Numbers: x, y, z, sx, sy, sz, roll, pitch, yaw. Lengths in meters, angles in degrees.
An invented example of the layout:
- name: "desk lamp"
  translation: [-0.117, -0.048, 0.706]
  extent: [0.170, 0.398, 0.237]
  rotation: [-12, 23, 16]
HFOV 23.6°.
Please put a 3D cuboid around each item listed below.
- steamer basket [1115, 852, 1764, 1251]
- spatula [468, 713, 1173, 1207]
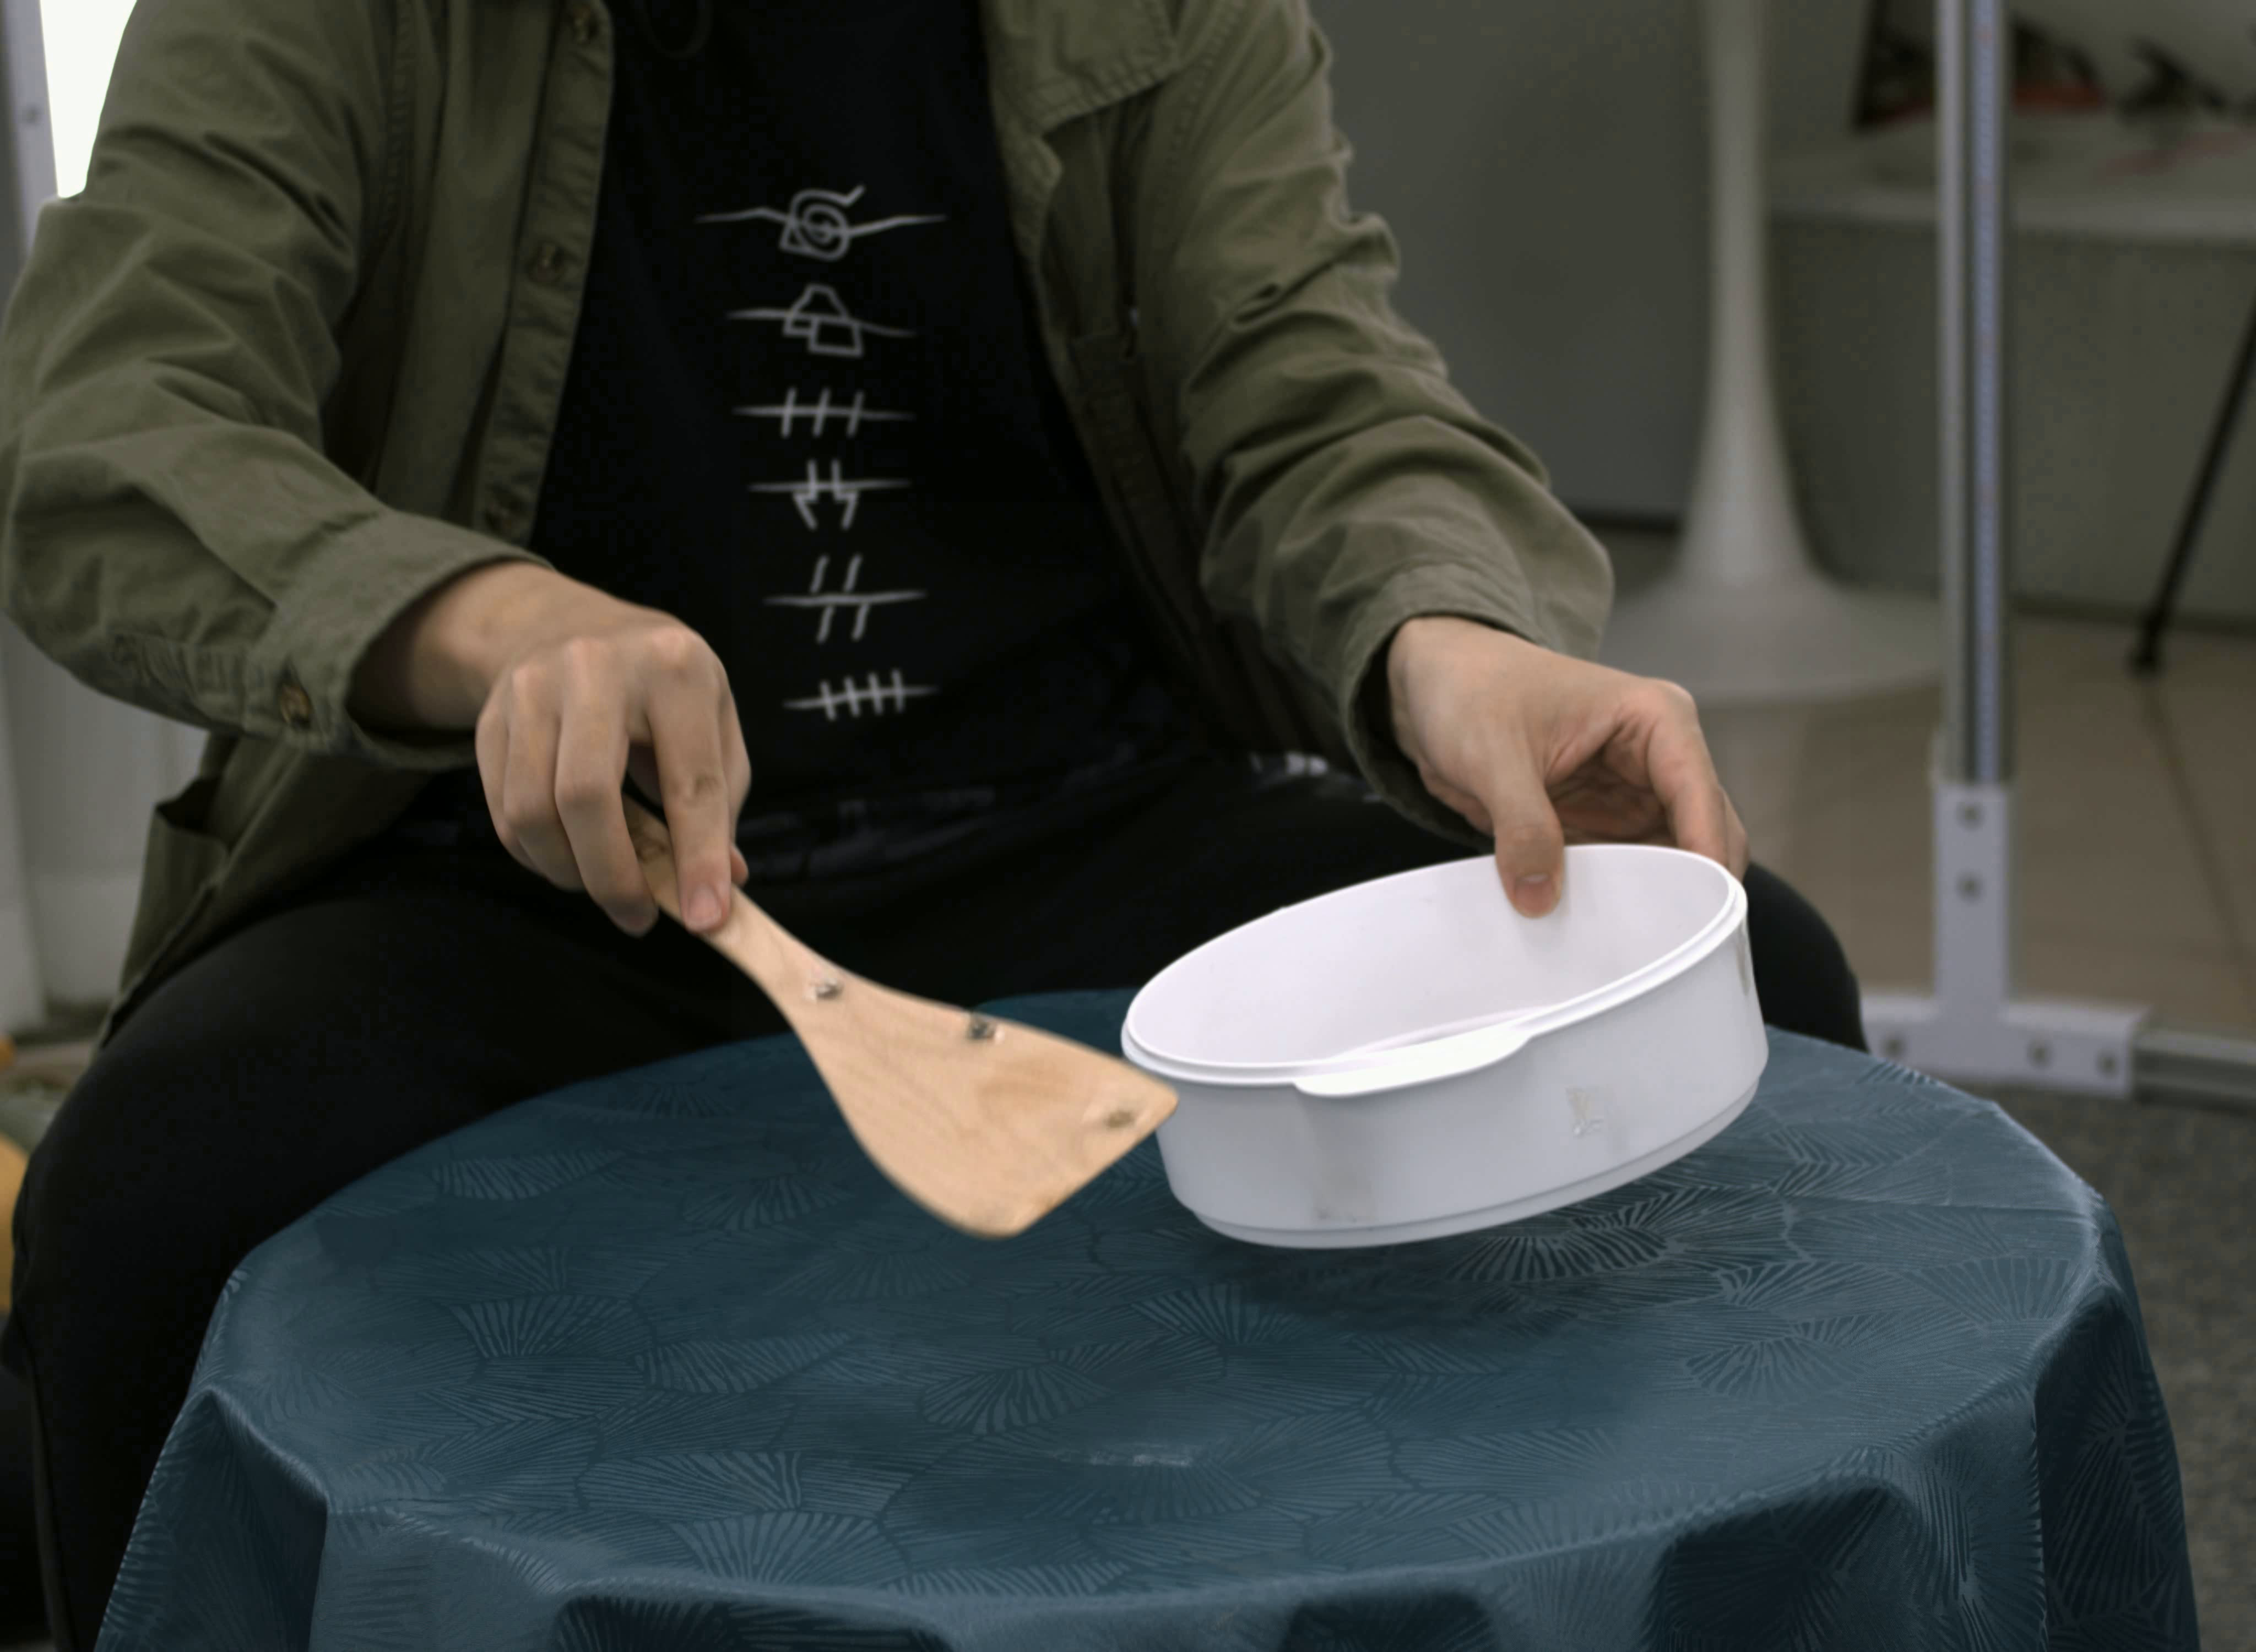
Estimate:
- name: "steamer basket"
  translation: [0.099, 0.070, 1.672]
  extent: [0.200, 0.070, 0.230]
  rotation: [-11, 13, 10]
- name: "spatula"
  translation: [-0.106, 0.030, 1.623]
  extent: [0.078, 0.016, 0.331]
  rotation: [-29, 40, -26]
